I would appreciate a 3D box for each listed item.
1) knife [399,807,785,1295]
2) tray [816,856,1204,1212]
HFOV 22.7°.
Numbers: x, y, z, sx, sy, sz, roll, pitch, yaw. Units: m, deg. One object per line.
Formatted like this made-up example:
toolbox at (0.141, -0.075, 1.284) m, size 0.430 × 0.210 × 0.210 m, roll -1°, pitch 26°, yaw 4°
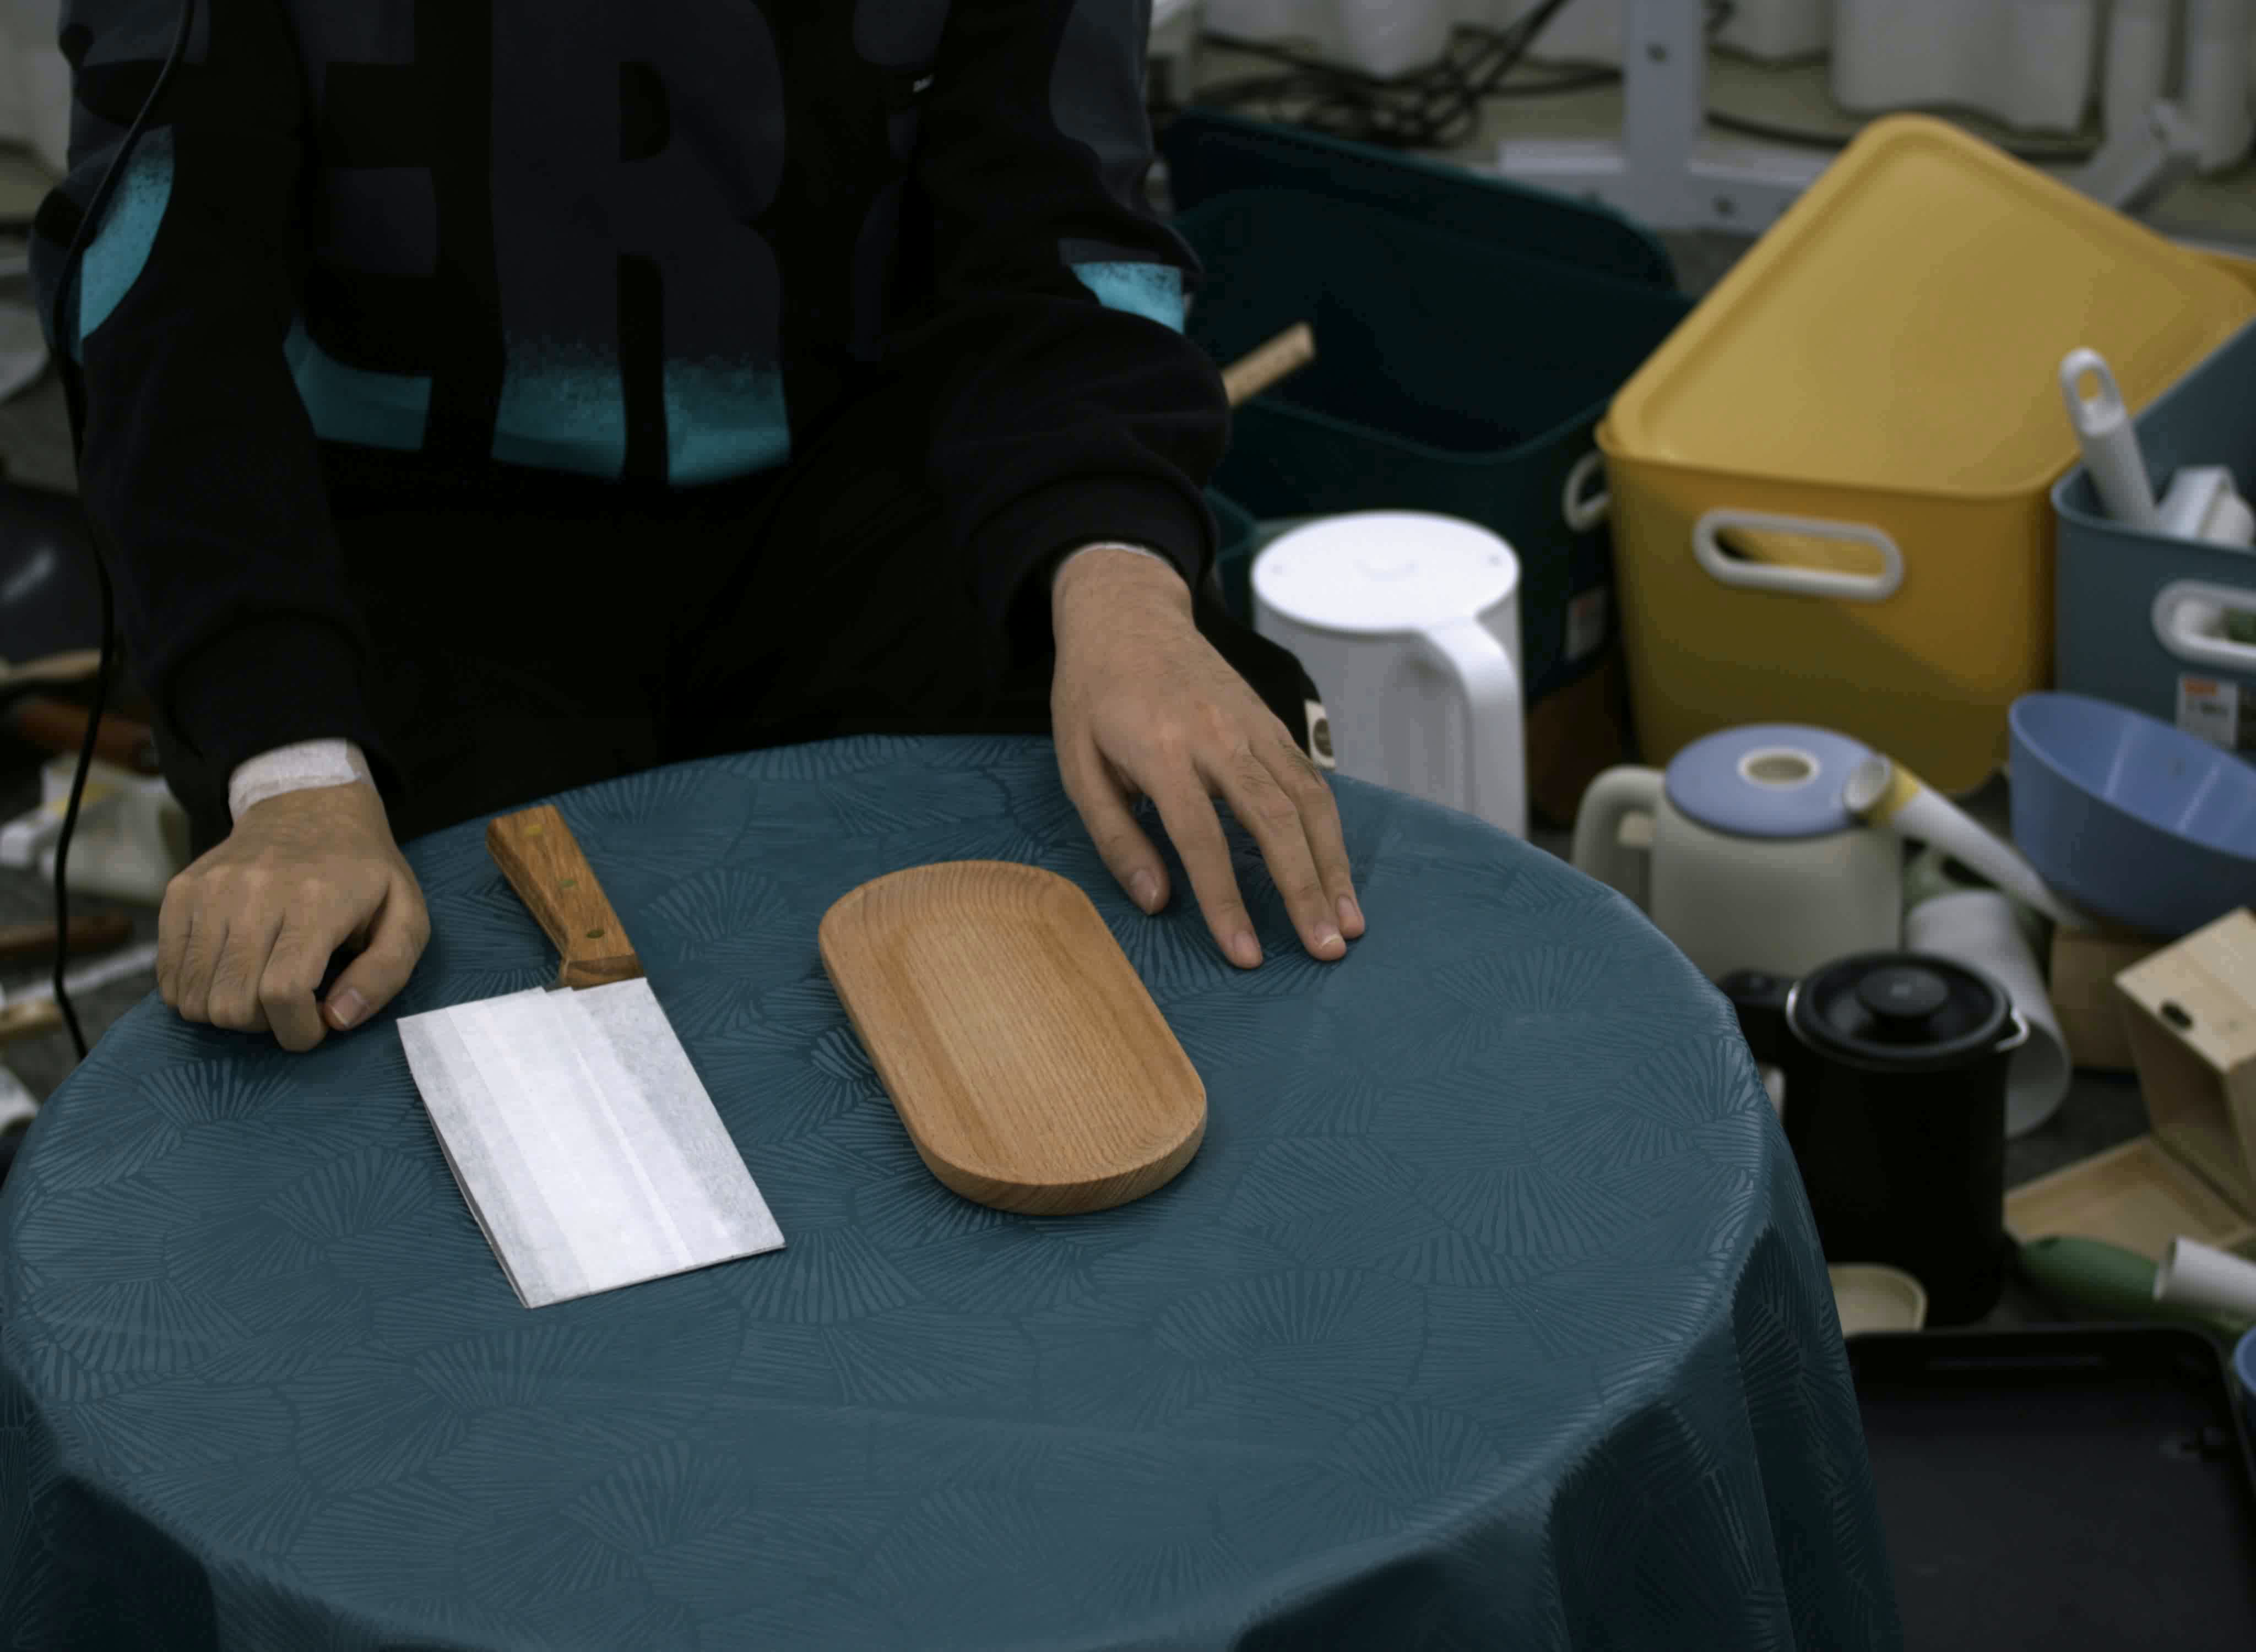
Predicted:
knife at (-0.202, 0.077, 1.952) m, size 0.093 × 0.021 × 0.309 m, roll -13°, pitch 31°, yaw -15°
tray at (-0.042, 0.070, 1.948) m, size 0.102 × 0.020 × 0.233 m, roll -9°, pitch 27°, yaw -13°
